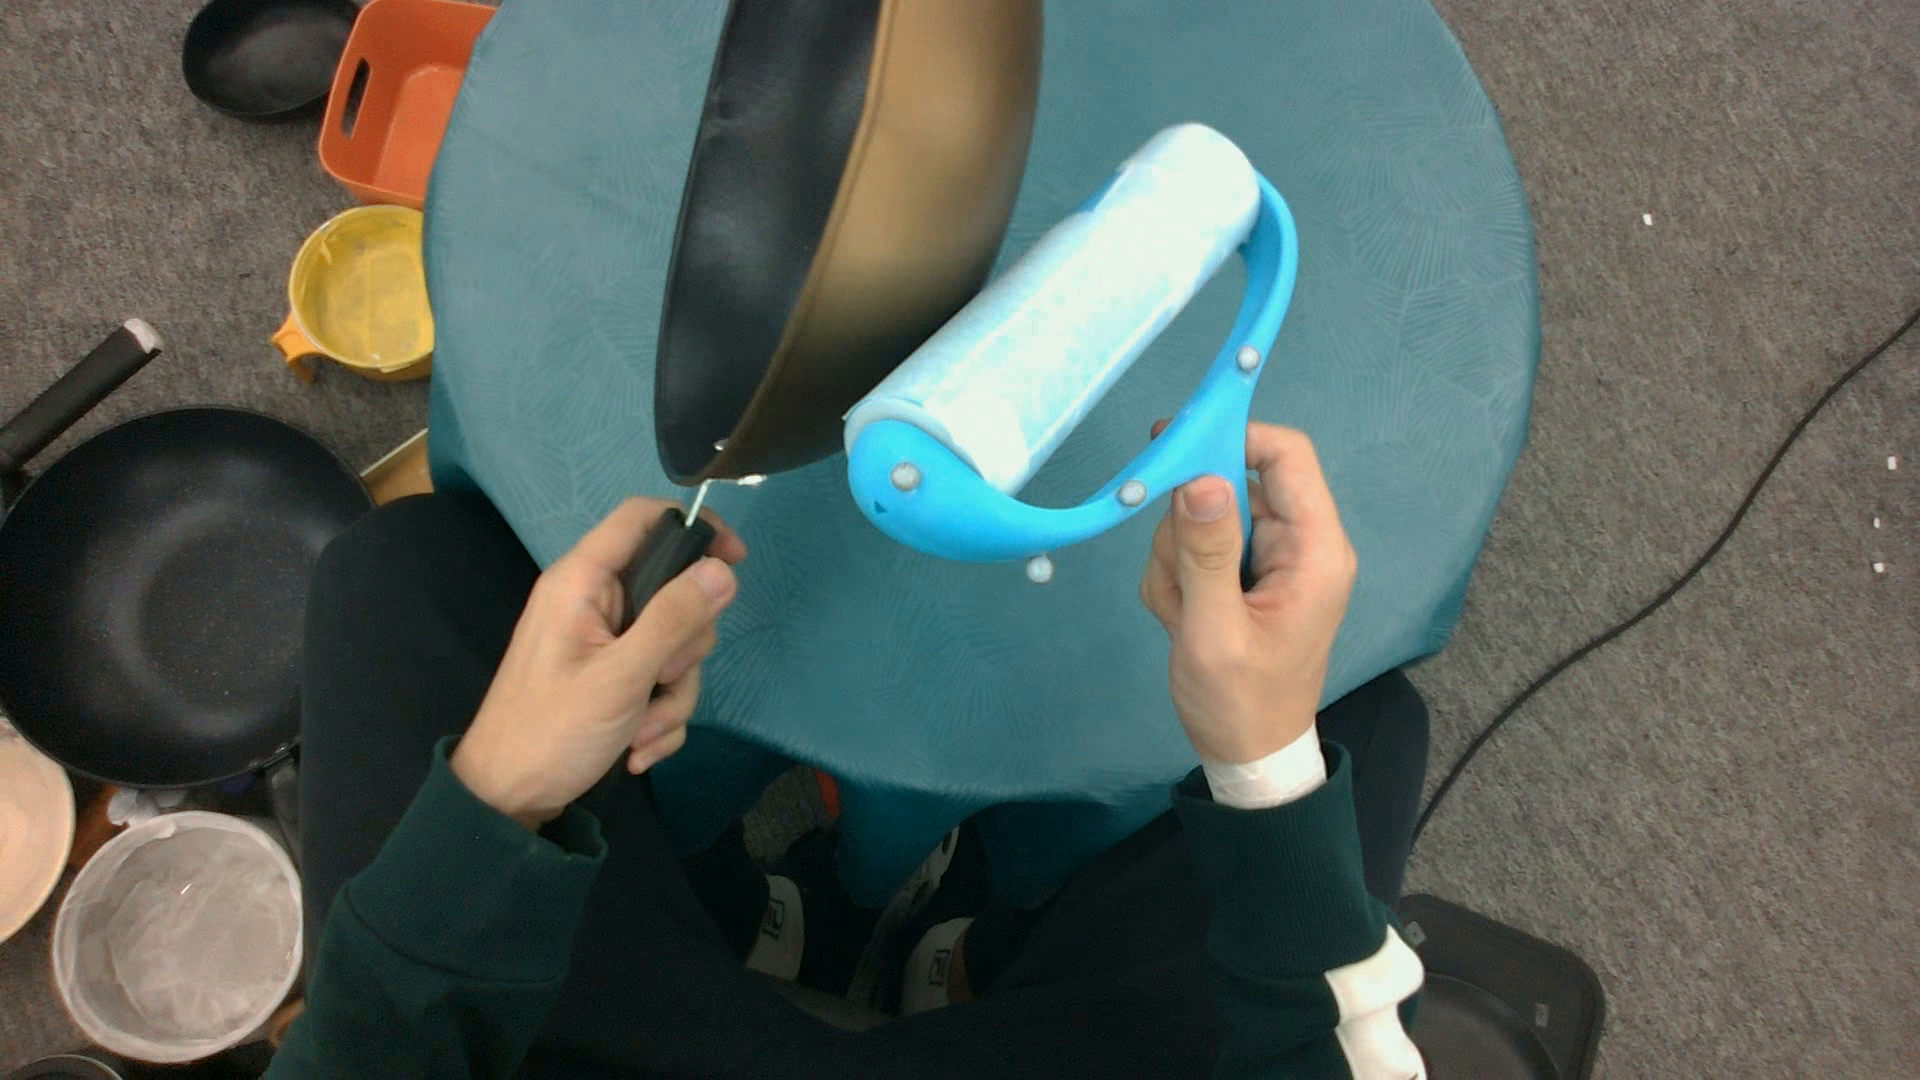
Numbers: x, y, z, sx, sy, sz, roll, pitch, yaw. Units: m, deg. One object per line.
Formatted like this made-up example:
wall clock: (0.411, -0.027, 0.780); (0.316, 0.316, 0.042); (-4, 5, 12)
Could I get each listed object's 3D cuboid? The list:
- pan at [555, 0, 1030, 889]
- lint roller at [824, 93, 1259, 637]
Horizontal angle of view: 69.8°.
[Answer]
pan: (-0.071, -0.066, 0.539); (0.087, 0.288, 0.462); (11, 103, -23)
lint roller: (0.061, -0.039, 0.488); (0.180, 0.067, 0.230); (54, 48, -24)
